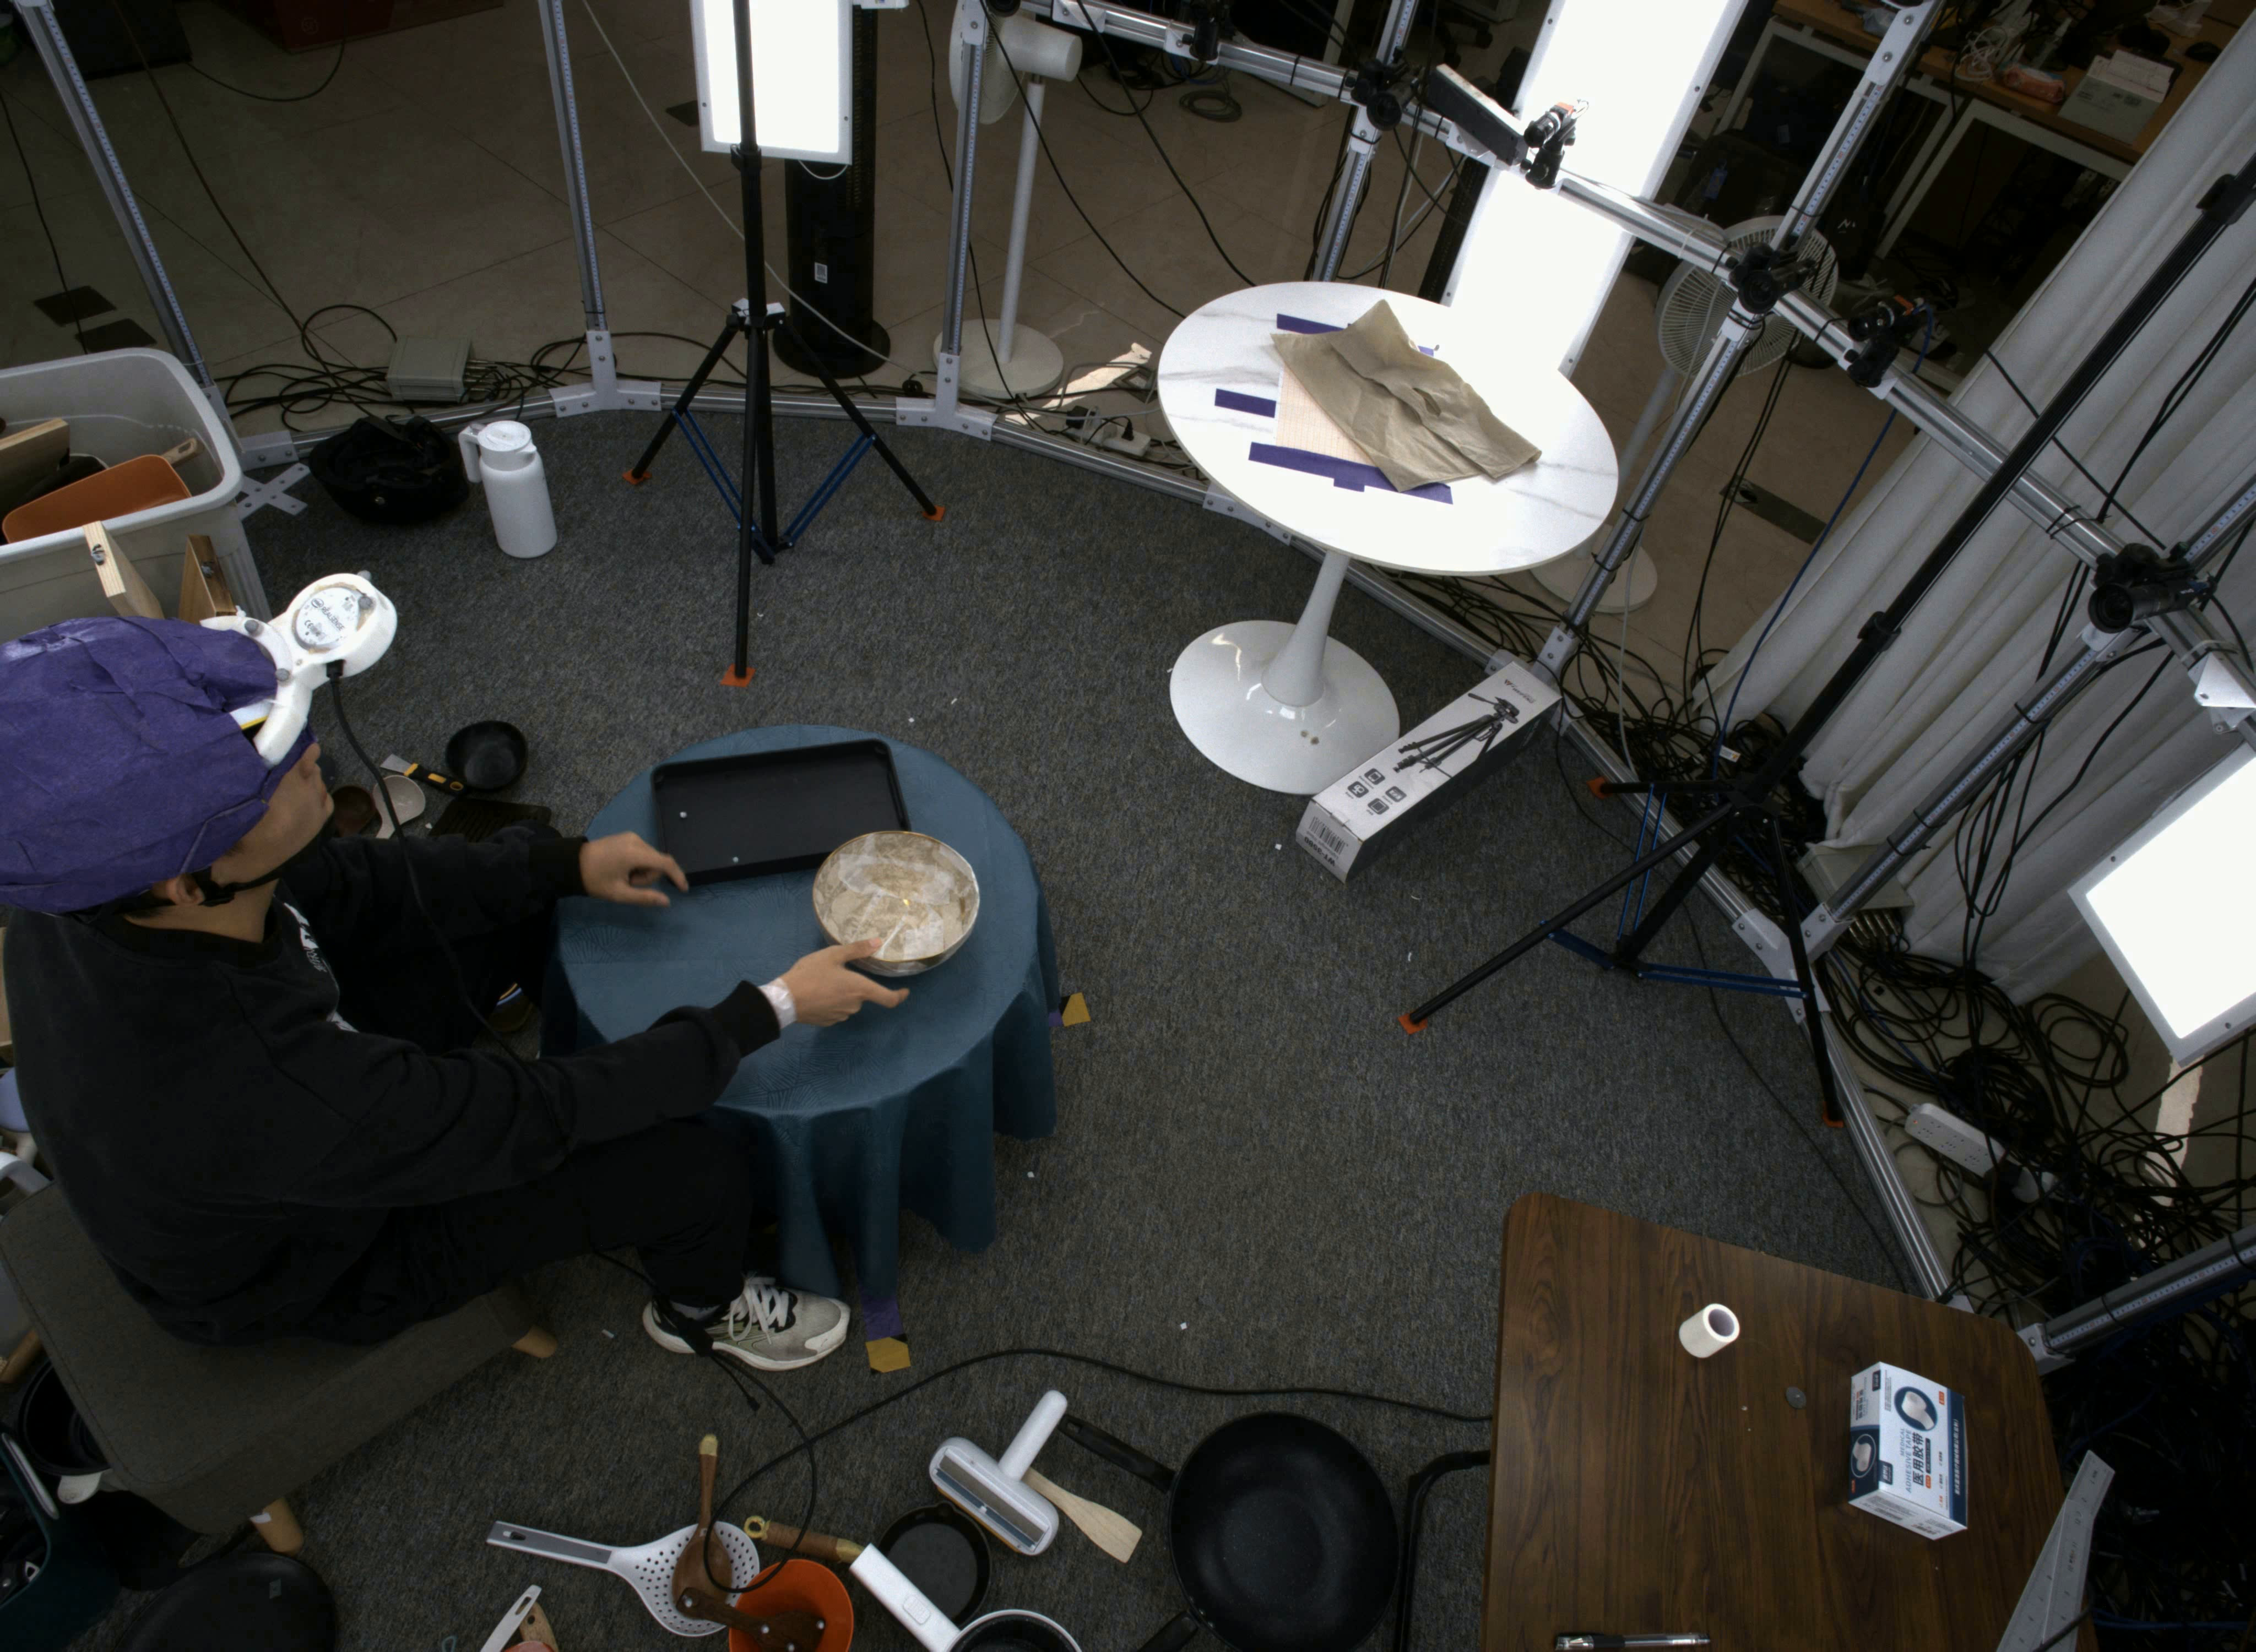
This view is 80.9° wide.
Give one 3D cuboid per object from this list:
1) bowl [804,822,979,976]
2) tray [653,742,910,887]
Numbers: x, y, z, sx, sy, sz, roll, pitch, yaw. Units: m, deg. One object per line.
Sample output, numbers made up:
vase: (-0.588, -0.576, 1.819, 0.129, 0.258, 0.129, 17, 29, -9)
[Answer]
bowl: (-0.295, 0.106, 1.623, 0.214, 0.096, 0.211, 8, 52, -8)
tray: (-0.459, -0.020, 1.715, 0.319, 0.038, 0.180, -6, 55, -21)
